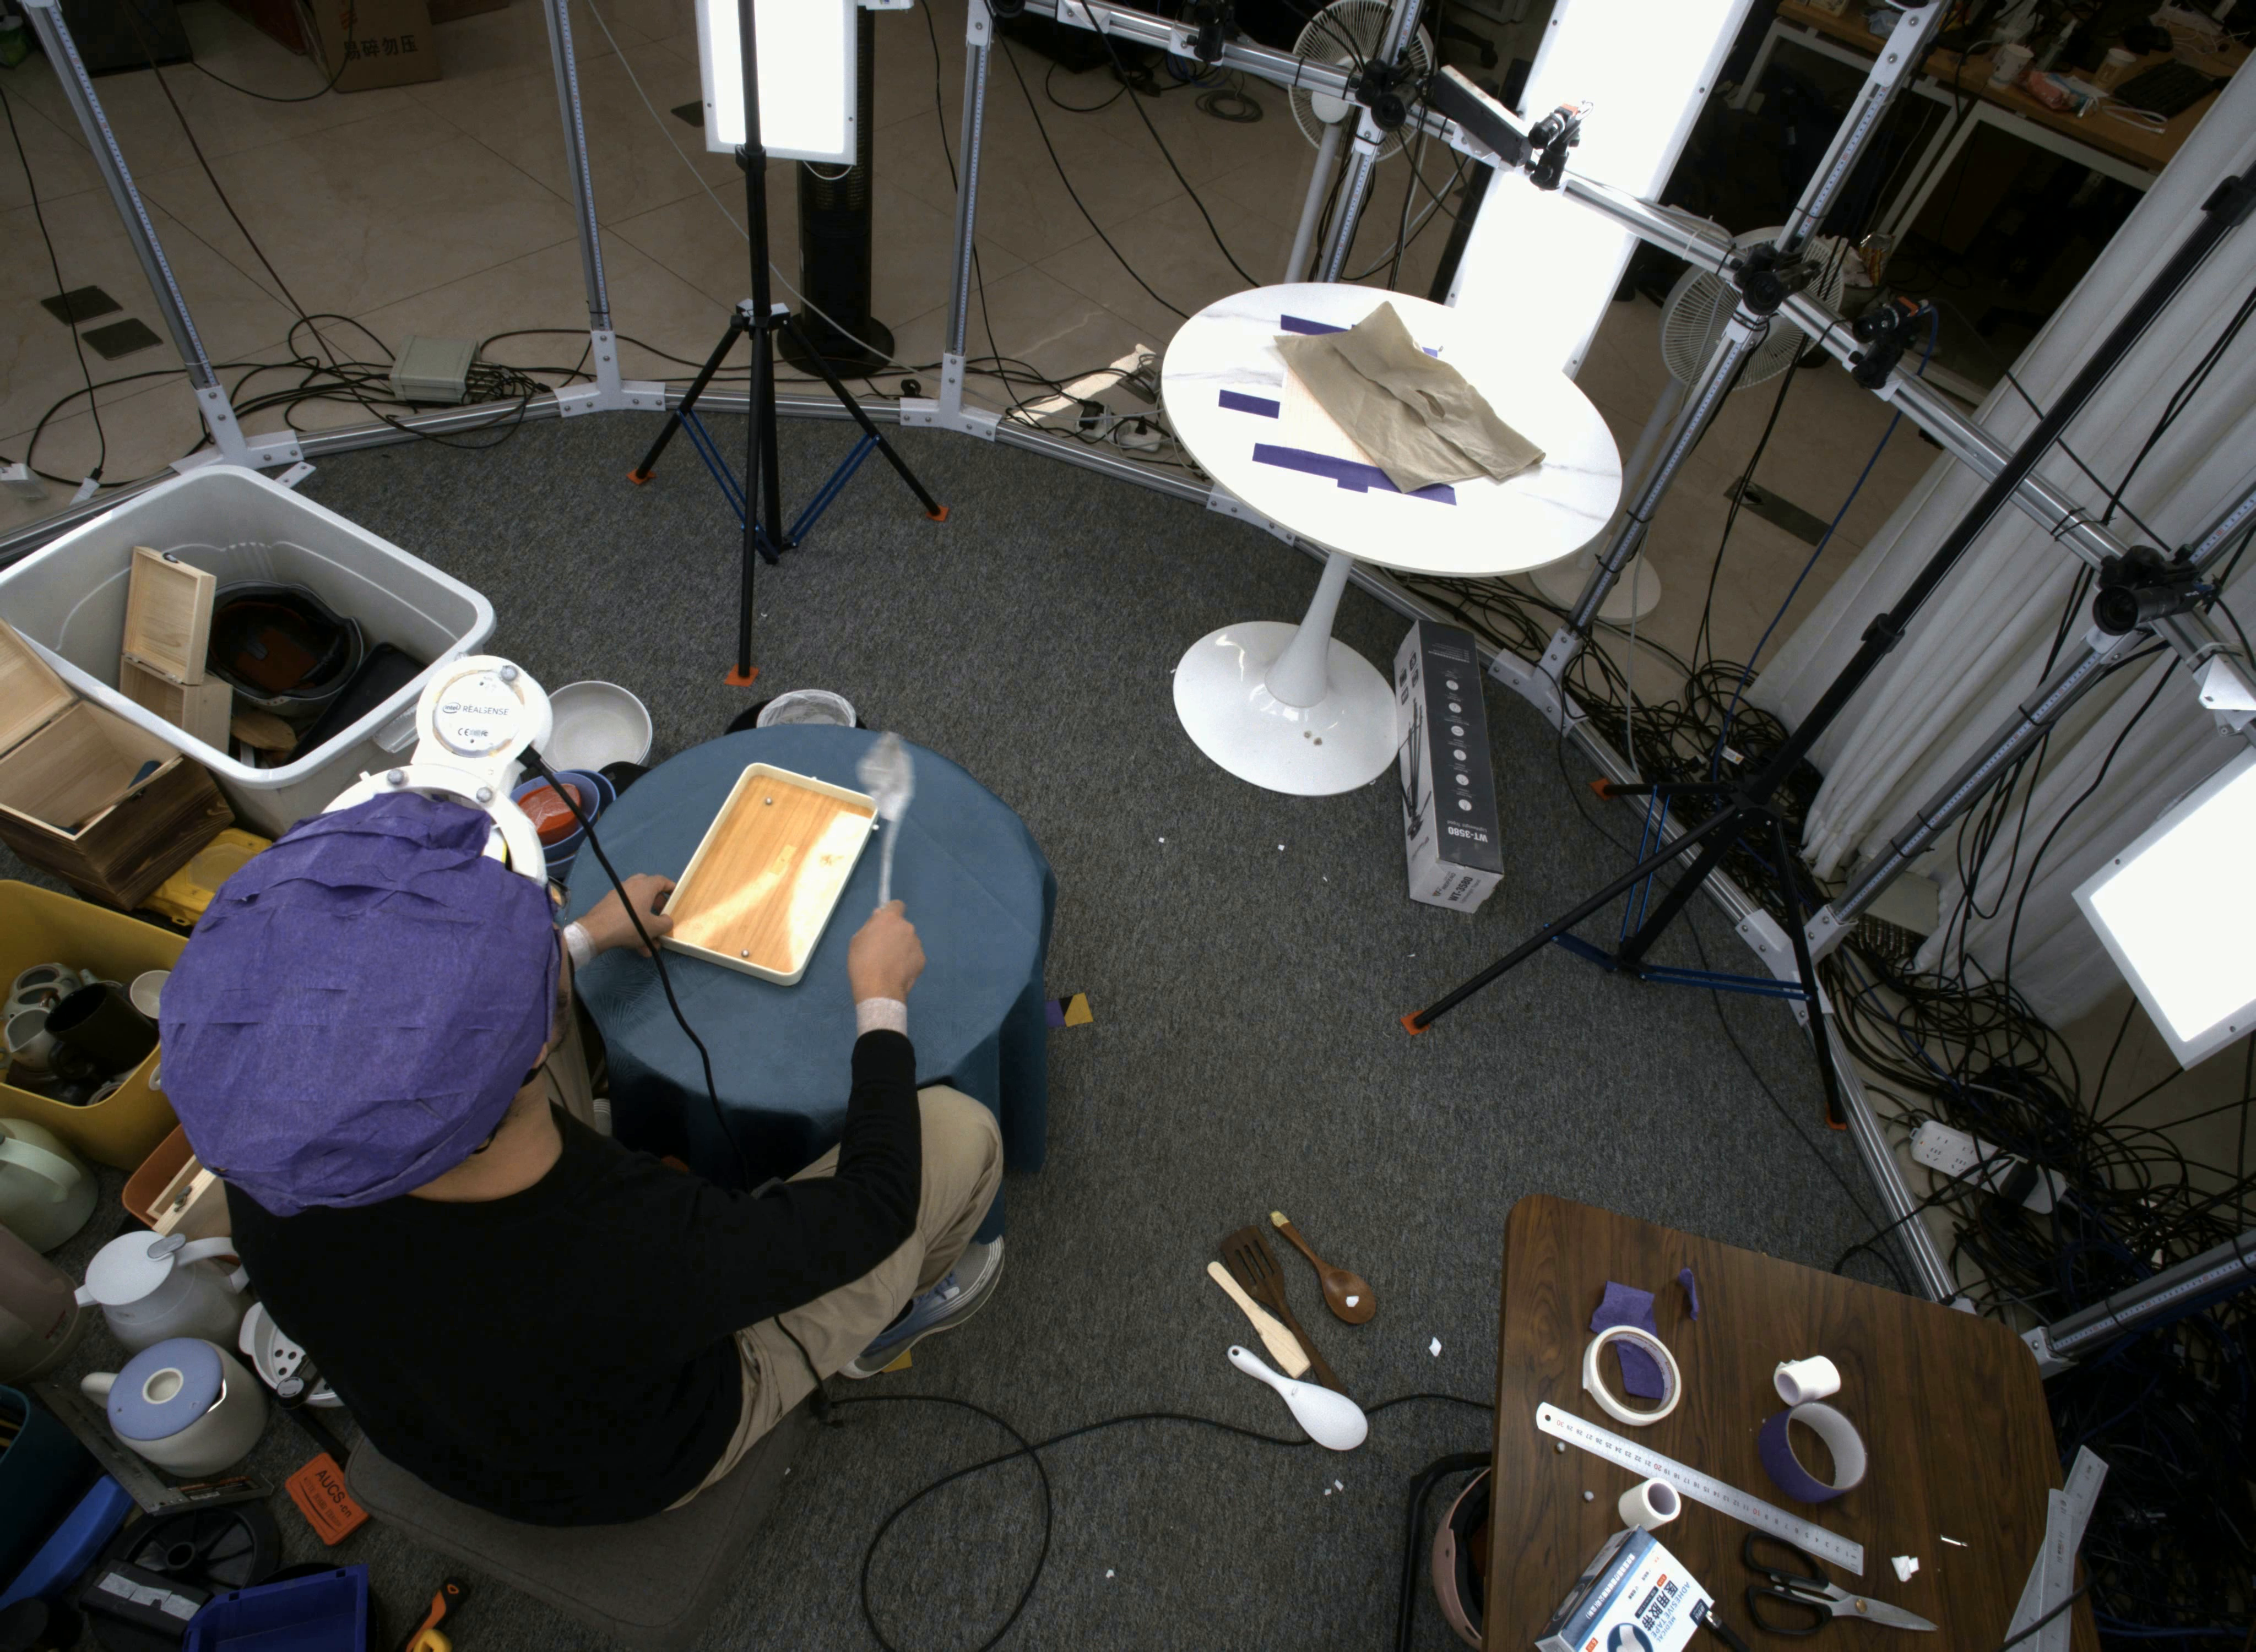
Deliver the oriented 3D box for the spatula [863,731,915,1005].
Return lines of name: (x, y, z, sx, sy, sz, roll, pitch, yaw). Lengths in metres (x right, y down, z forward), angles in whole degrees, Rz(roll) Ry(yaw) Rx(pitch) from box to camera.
spatula: (-0.294, 0.045, 1.566, 0.046, 0.098, 0.358, 26, 45, -33)

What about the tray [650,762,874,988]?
tray: (-0.461, 0.054, 1.651, 0.190, 0.028, 0.297, 18, 52, -1)
